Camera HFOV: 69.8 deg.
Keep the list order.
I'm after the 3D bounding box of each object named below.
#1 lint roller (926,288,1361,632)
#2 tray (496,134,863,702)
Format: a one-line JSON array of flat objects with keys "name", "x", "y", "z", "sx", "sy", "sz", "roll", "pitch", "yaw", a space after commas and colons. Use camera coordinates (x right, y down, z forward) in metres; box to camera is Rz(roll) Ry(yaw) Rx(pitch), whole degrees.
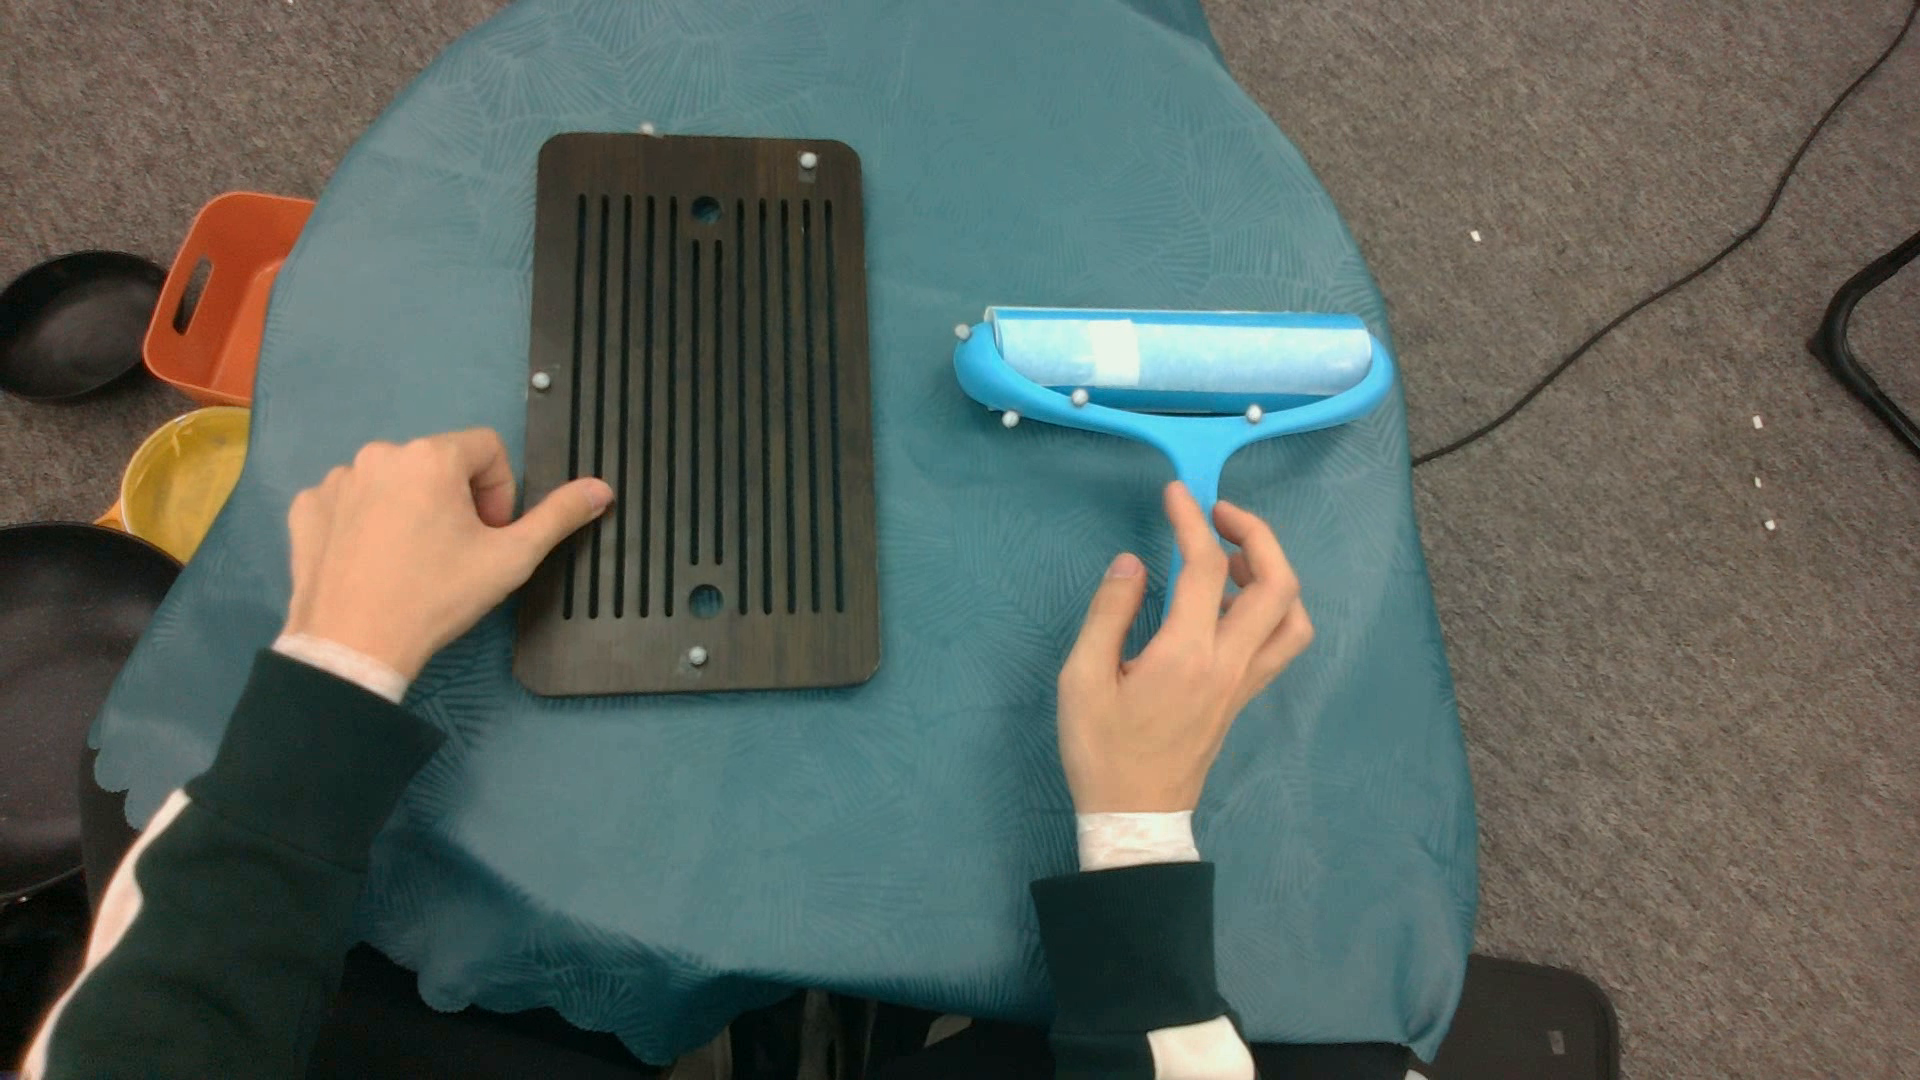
[{"name": "lint roller", "x": 0.103, "y": -0.048, "z": 0.697, "sx": 0.229, "sy": 0.067, "sz": 0.181, "roll": -4, "pitch": 69, "yaw": -10}, {"name": "tray", "x": -0.145, "y": -0.072, "z": 0.696, "sx": 0.170, "sy": 0.018, "sz": 0.306, "roll": -3, "pitch": 71, "yaw": -8}]
